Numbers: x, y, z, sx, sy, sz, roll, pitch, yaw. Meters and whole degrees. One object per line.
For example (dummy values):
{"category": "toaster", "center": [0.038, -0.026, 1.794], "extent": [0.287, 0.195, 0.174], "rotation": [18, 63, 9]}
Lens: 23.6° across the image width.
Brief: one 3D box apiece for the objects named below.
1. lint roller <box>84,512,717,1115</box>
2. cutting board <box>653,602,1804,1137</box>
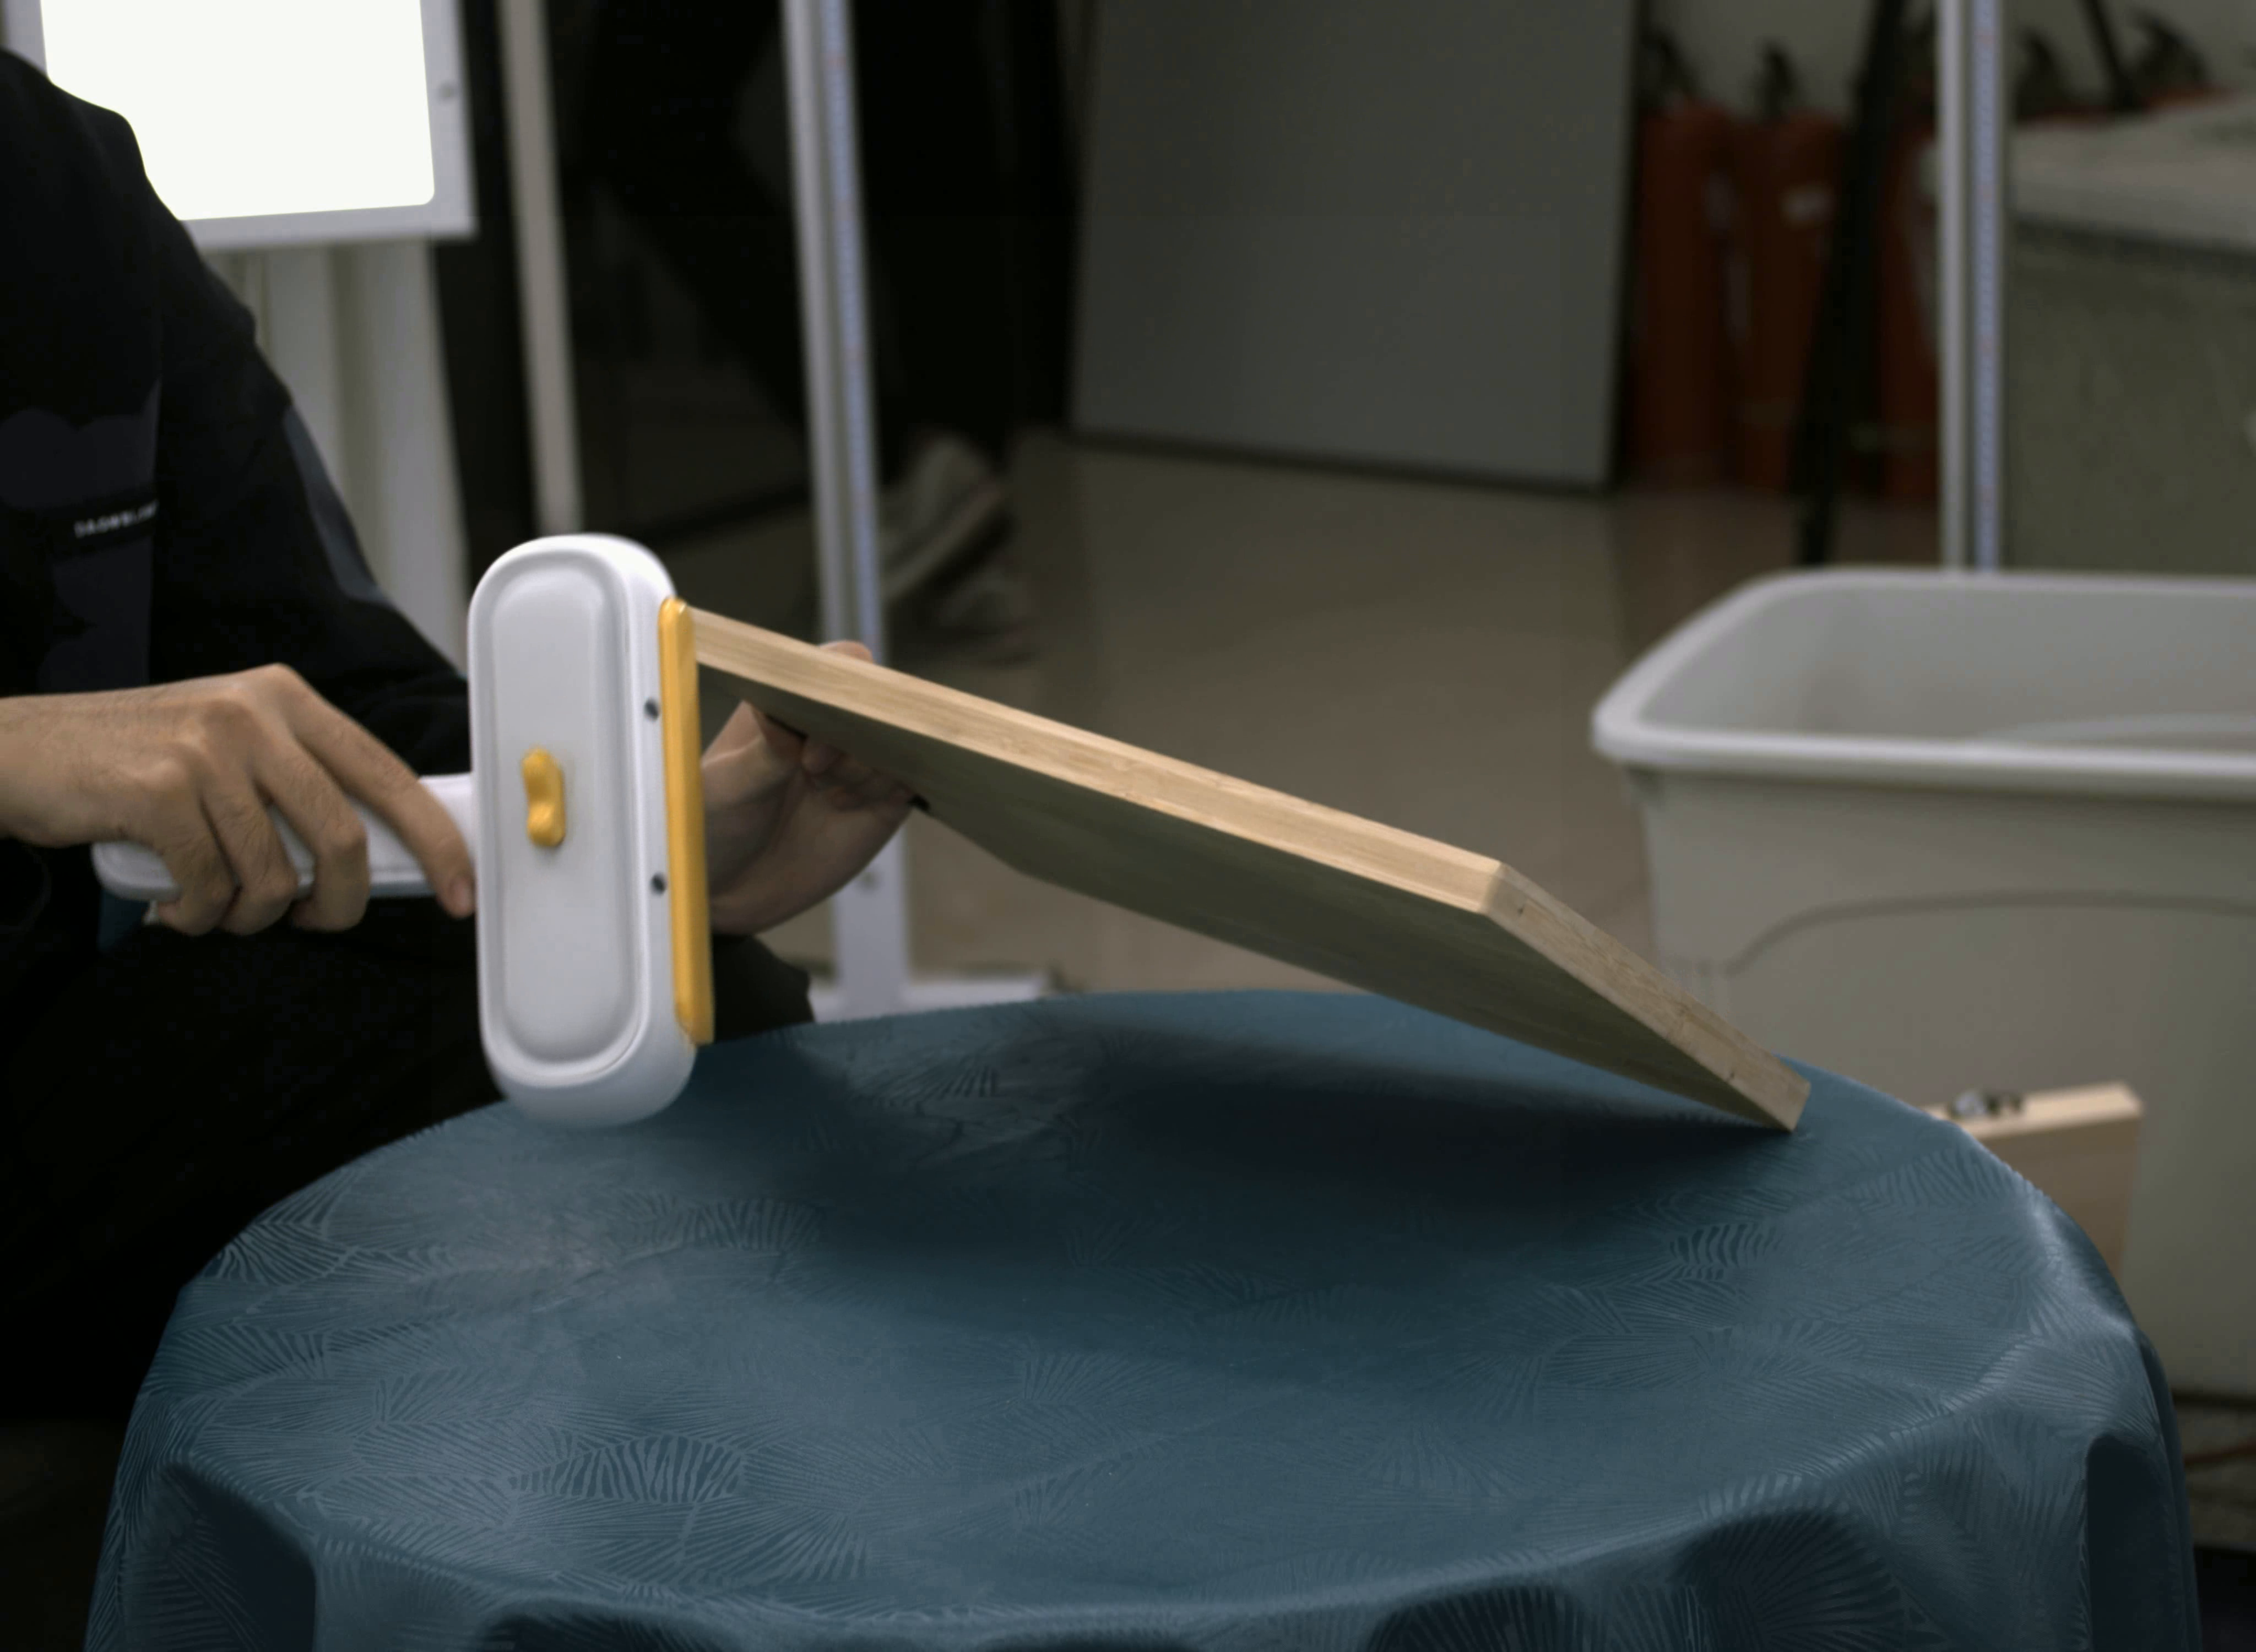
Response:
{"category": "lint roller", "center": [-0.232, 0.003, 1.718], "extent": [0.190, 0.195, 0.074], "rotation": [-9, -11, 6]}
{"category": "cutting board", "center": [0.032, 0.014, 1.799], "extent": [0.351, 0.024, 0.247], "rotation": [18, -10, 36]}
